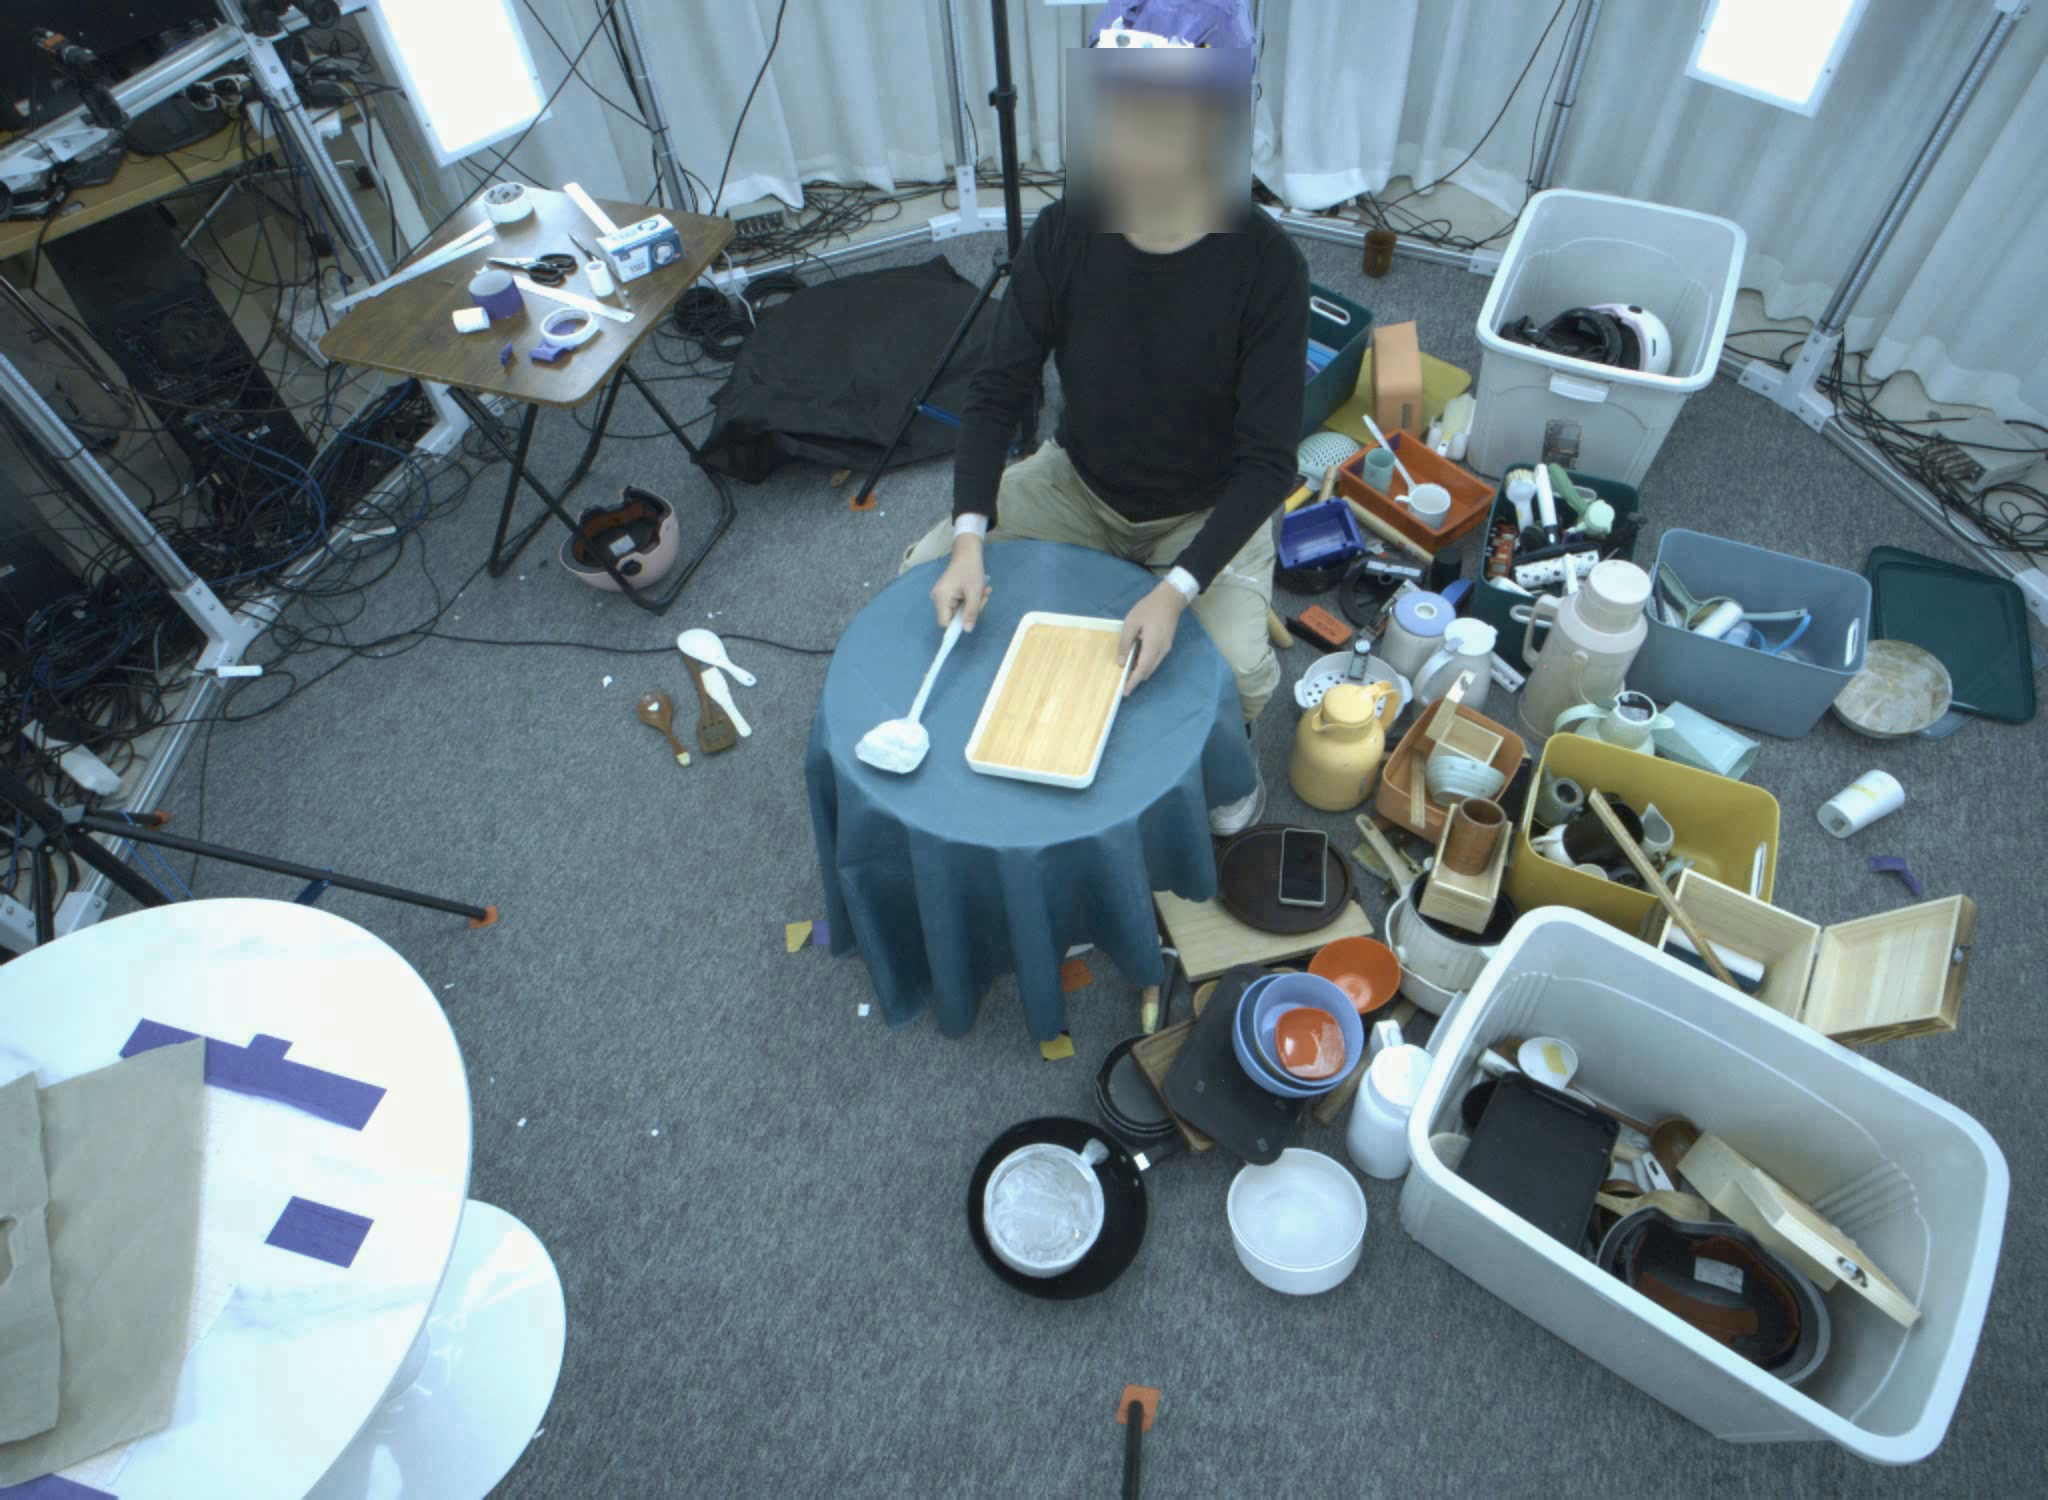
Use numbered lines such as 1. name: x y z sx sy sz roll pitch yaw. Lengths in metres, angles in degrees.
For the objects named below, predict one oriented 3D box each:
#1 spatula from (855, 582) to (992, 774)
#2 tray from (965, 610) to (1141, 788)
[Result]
1. spatula: -0.134 -0.119 1.829 0.098 0.045 0.364 19 69 13
2. tray: 0.047 -0.081 1.812 0.189 0.028 0.299 10 56 17
